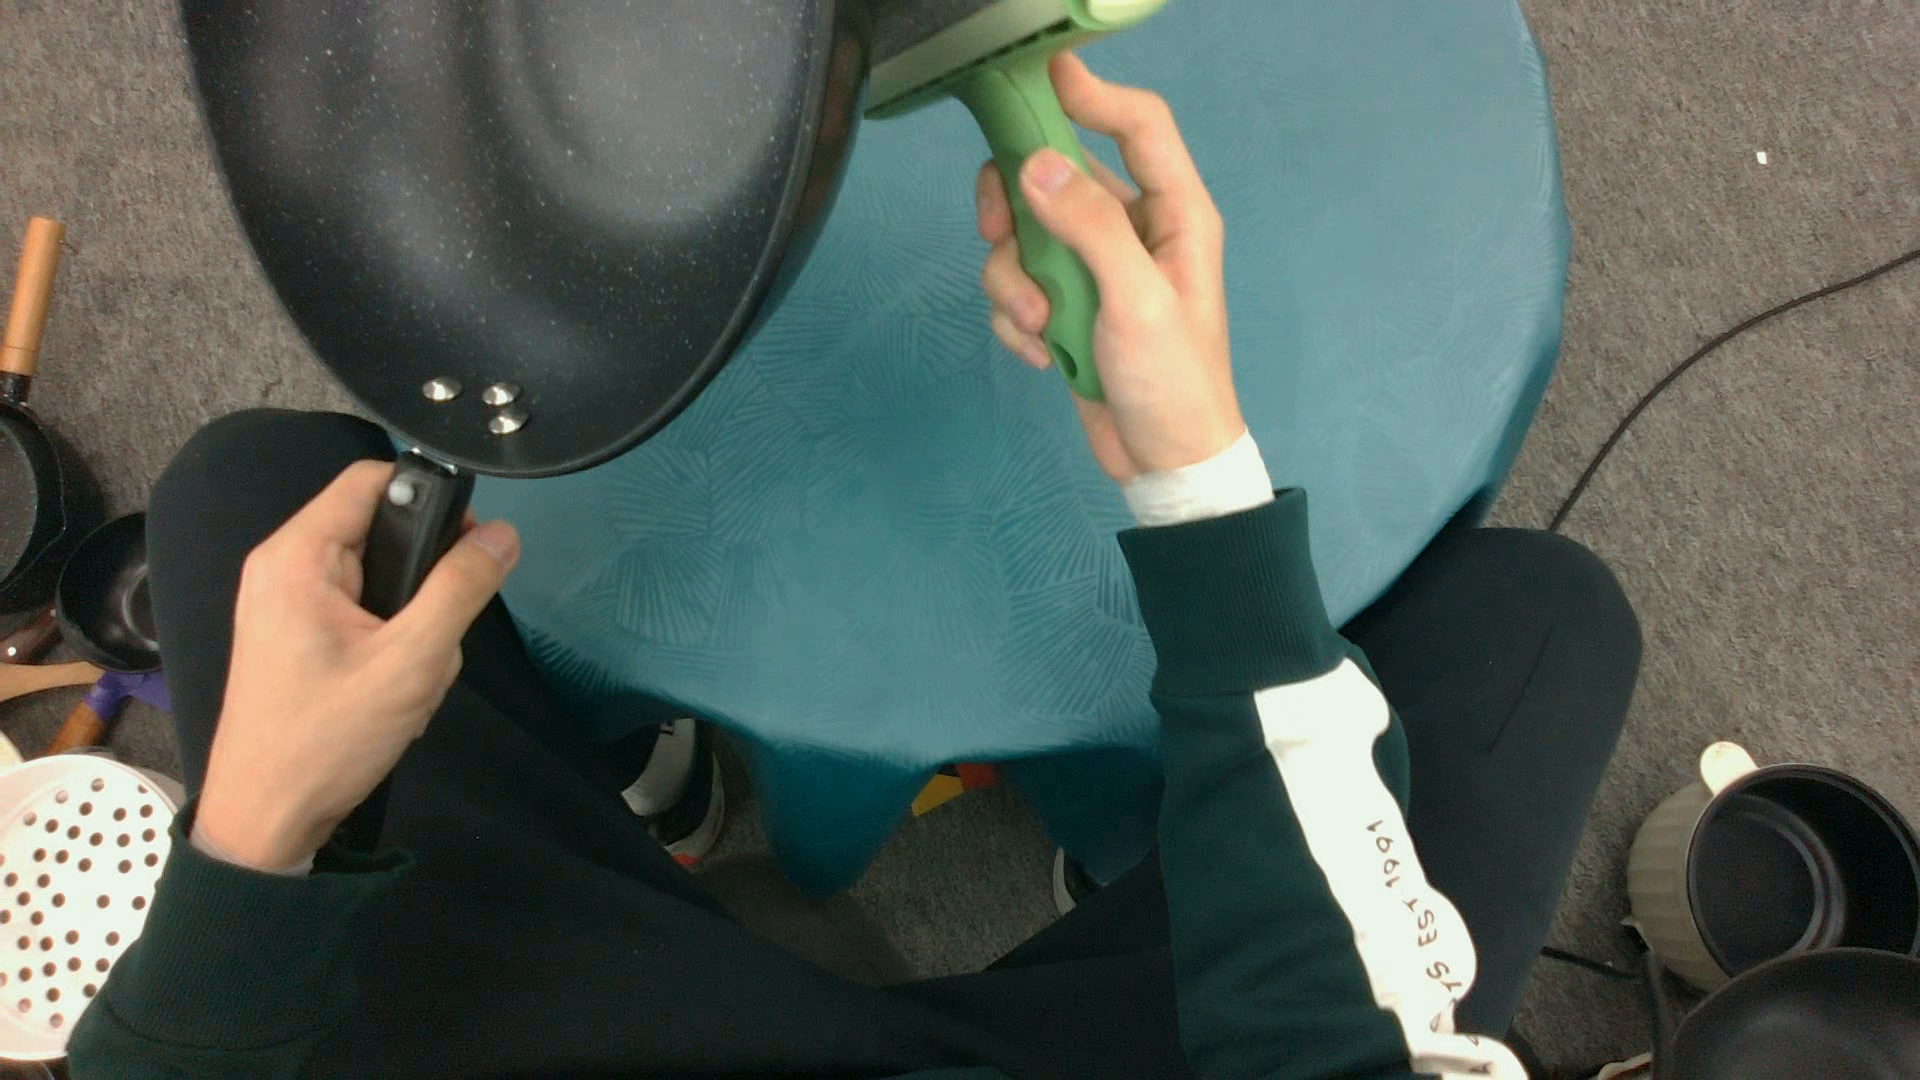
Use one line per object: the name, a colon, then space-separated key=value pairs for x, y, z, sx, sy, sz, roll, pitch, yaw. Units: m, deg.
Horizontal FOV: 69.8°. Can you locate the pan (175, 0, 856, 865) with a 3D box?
pan: x=-0.163 y=-0.107 z=0.473 sx=0.310 sy=0.112 sz=0.475 roll=24 pitch=114 yaw=30

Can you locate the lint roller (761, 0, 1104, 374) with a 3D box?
lint roller: x=0.021 y=-0.151 z=0.473 sx=0.082 sy=0.198 sz=0.183 roll=-40 pitch=113 yaw=-14
